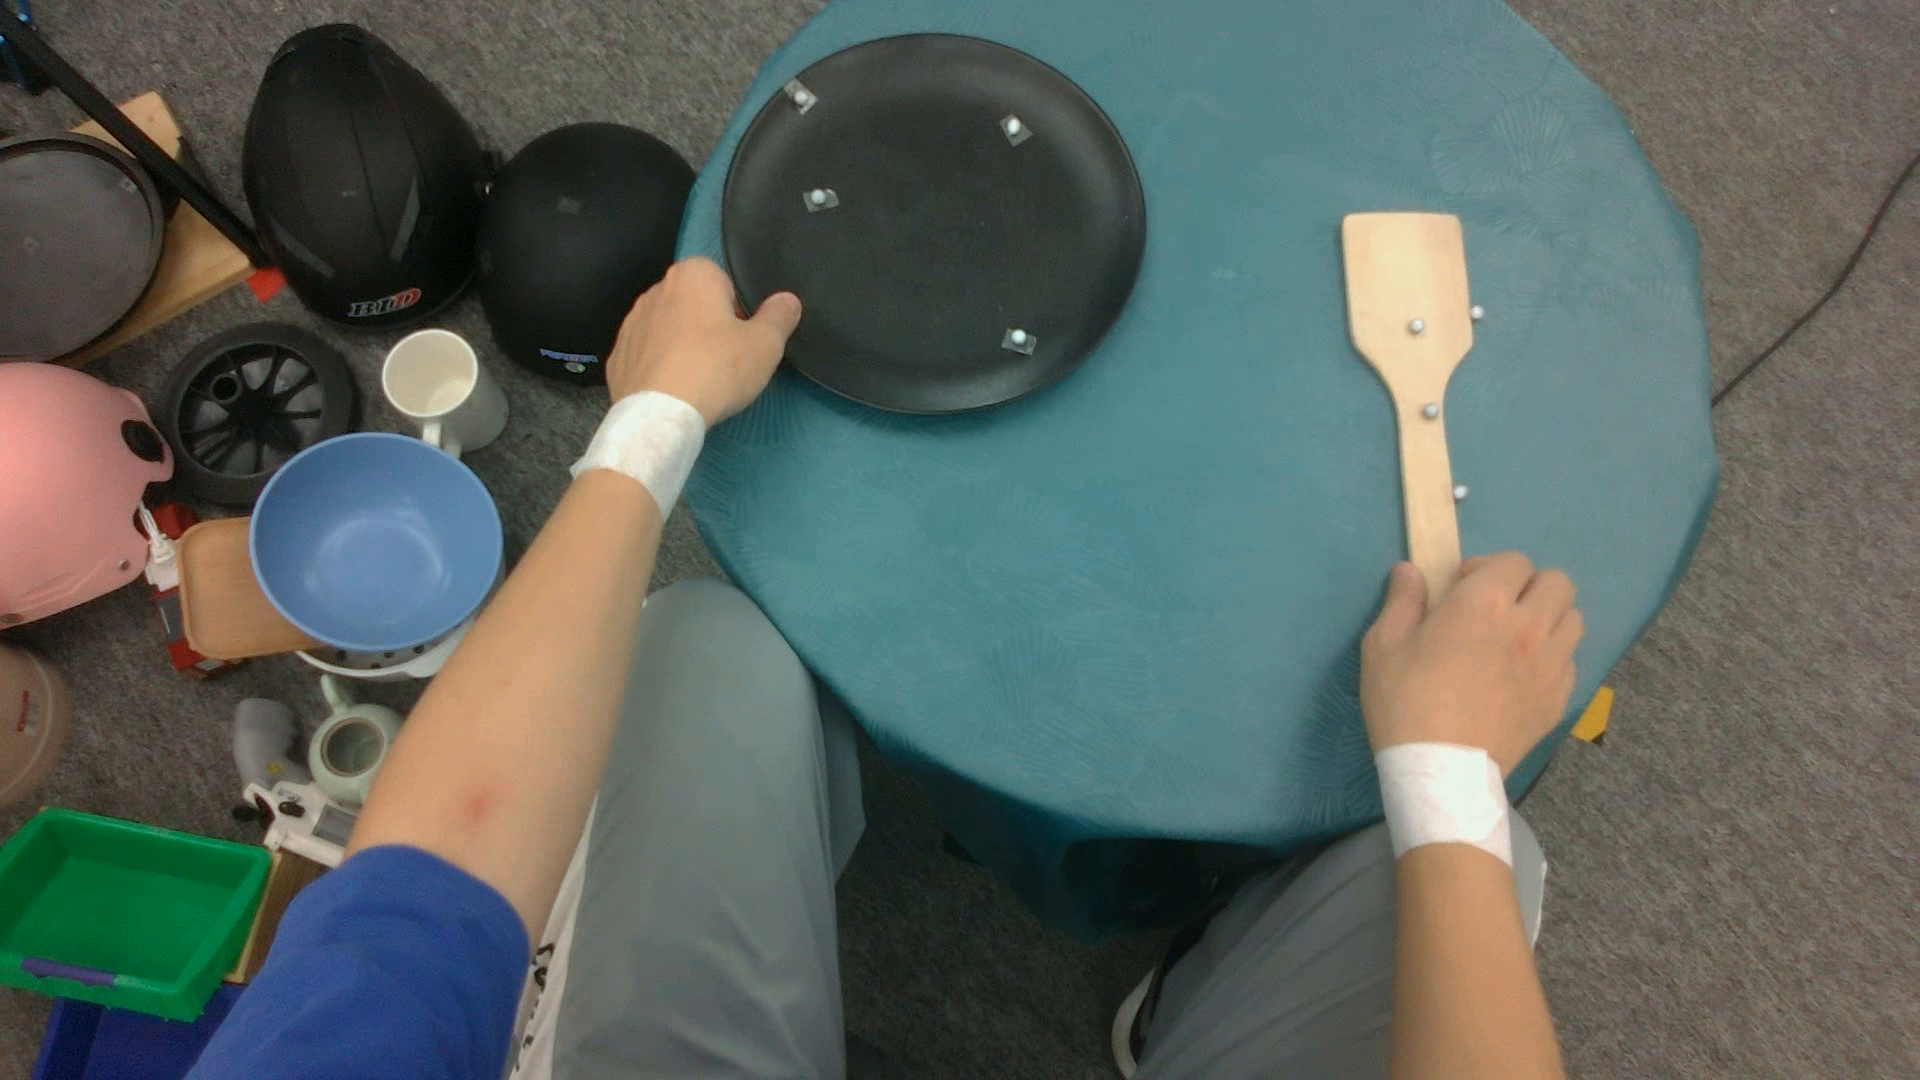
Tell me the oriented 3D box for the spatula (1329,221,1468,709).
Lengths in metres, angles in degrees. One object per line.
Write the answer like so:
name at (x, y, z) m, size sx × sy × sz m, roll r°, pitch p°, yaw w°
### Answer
spatula at (0.258, -0.050, 0.780) m, size 0.072 × 0.010 × 0.294 m, roll 0°, pitch 72°, yaw -1°

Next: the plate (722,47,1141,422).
plate at (-0.016, -0.180, 0.807) m, size 0.244 × 0.023 × 0.245 m, roll 0°, pitch 73°, yaw -1°
